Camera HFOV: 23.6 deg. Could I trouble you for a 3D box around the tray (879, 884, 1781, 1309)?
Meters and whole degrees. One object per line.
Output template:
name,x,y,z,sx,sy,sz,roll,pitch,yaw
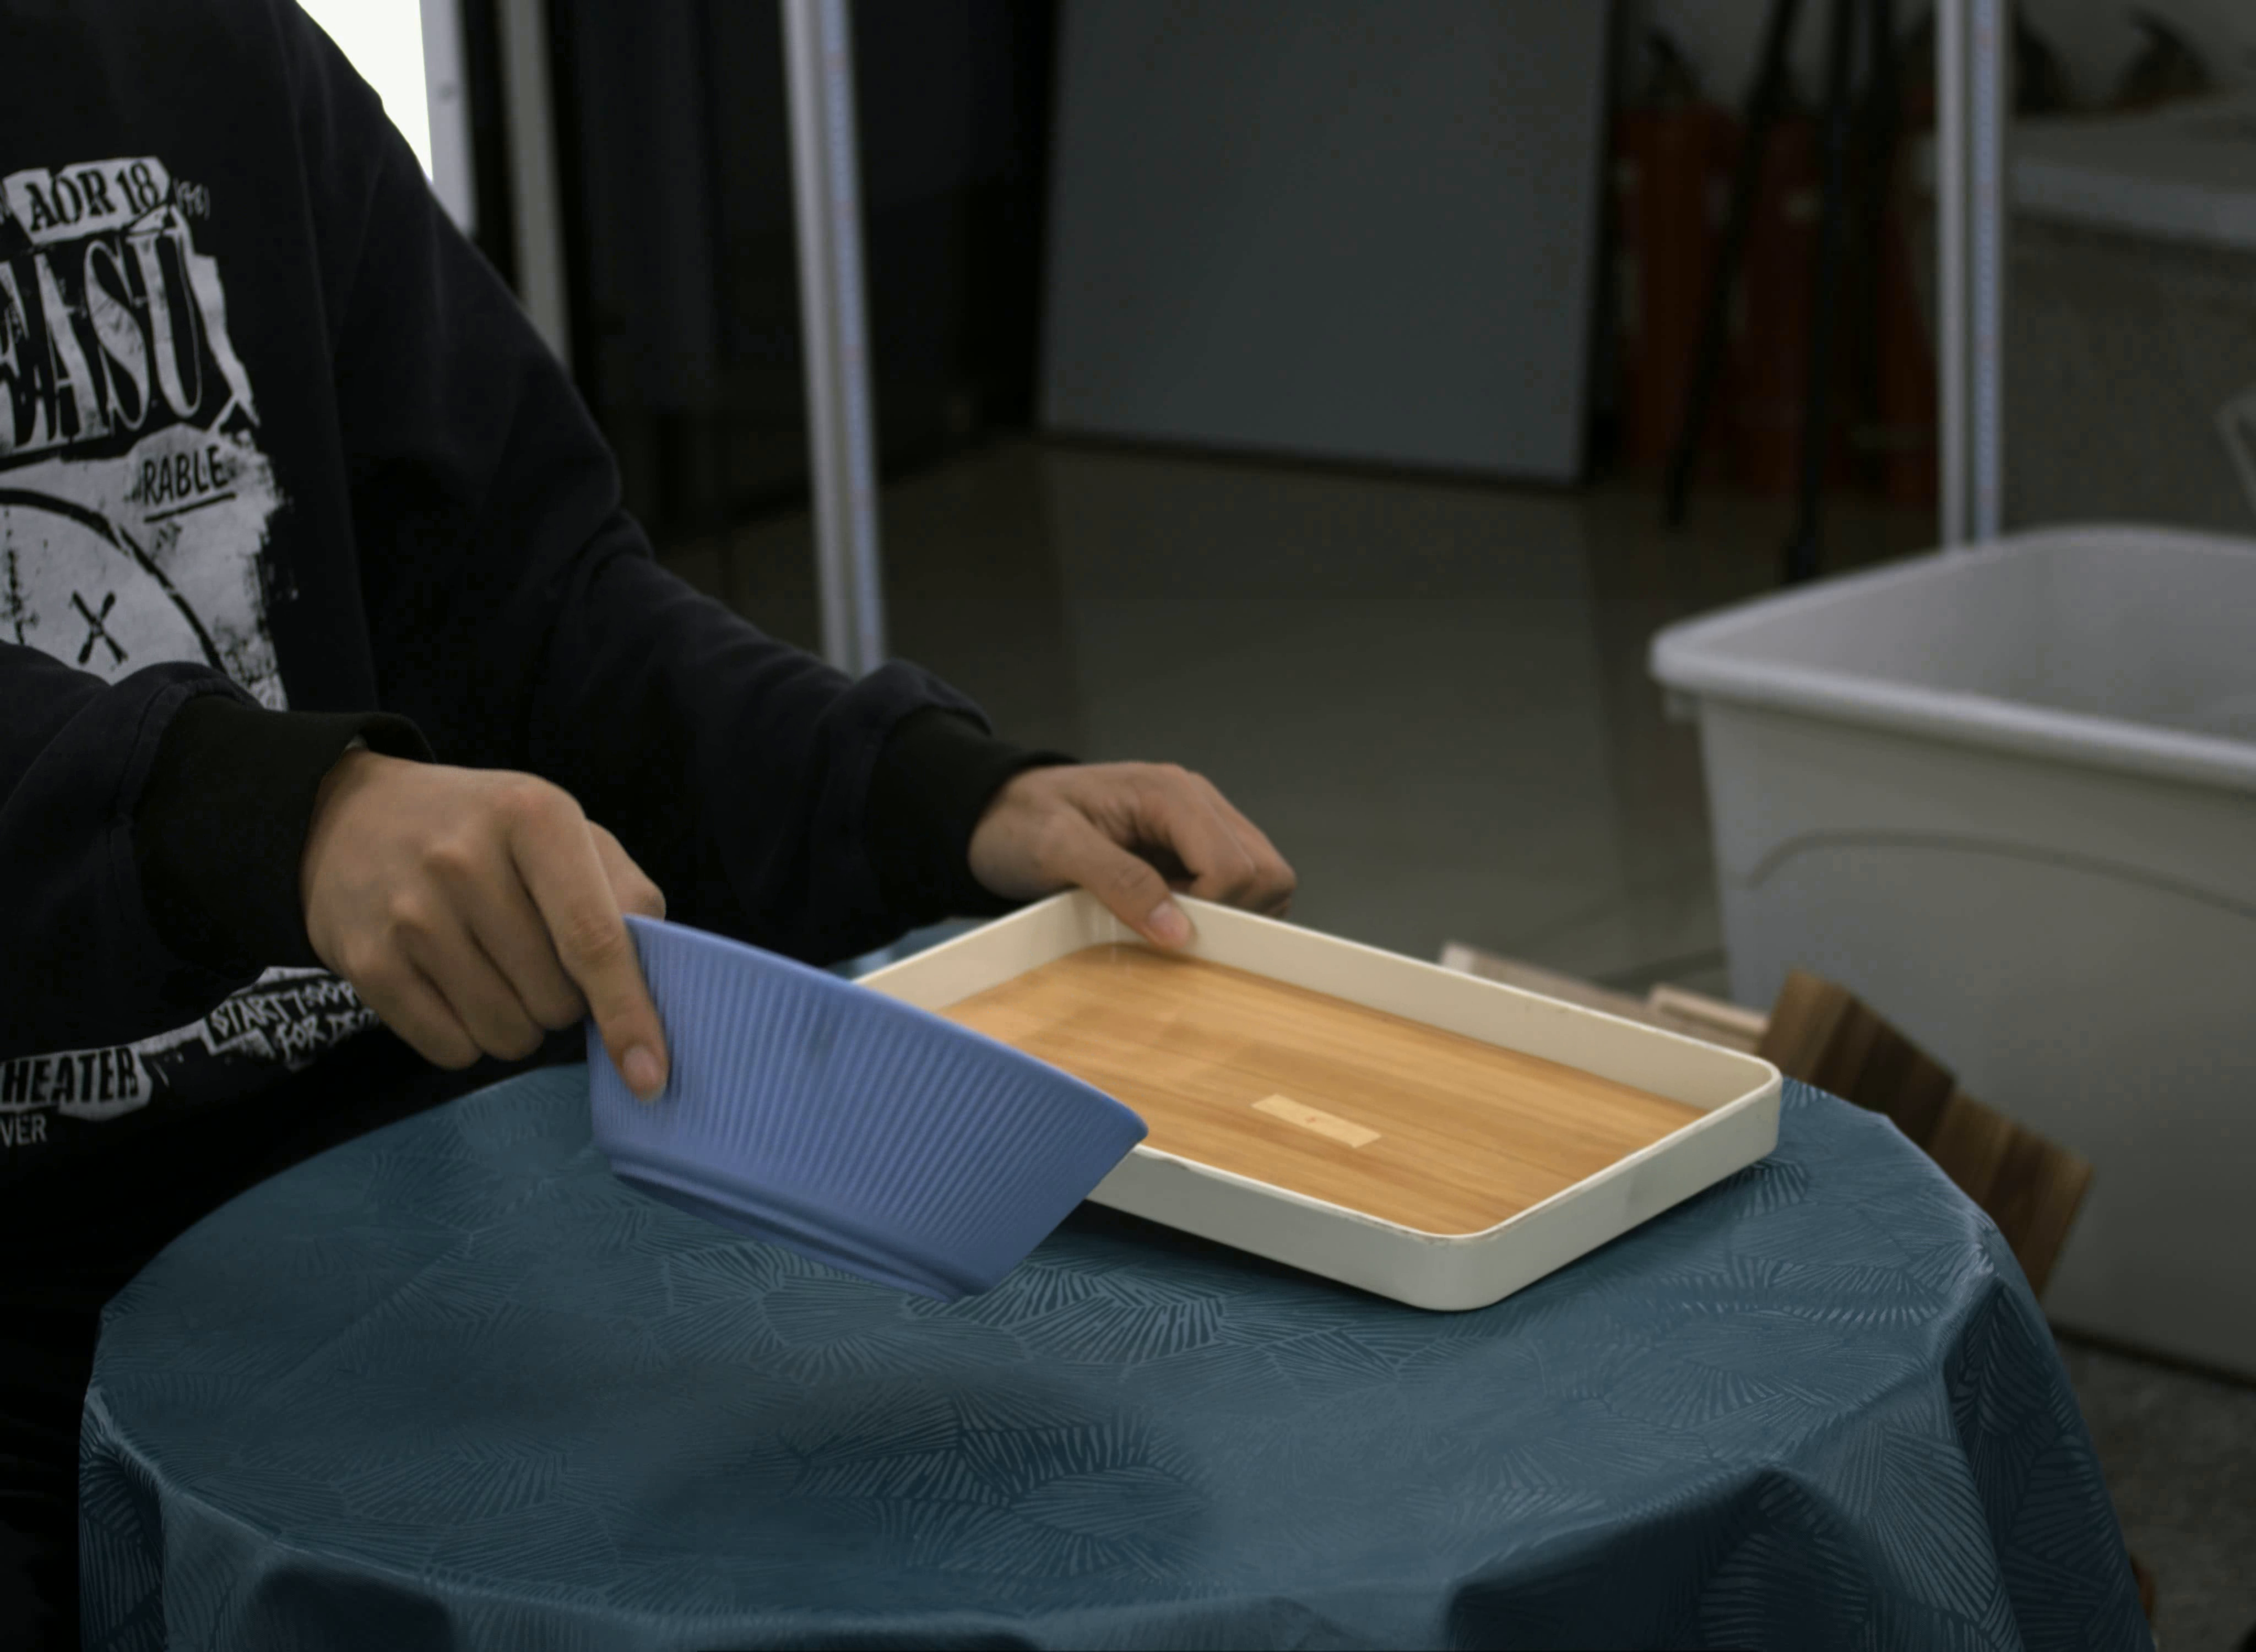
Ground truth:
tray,0.047,0.085,1.780,0.303,0.028,0.188,15,25,38

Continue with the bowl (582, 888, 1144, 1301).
bowl,-0.087,0.083,1.545,0.175,0.071,0.176,22,-11,3
